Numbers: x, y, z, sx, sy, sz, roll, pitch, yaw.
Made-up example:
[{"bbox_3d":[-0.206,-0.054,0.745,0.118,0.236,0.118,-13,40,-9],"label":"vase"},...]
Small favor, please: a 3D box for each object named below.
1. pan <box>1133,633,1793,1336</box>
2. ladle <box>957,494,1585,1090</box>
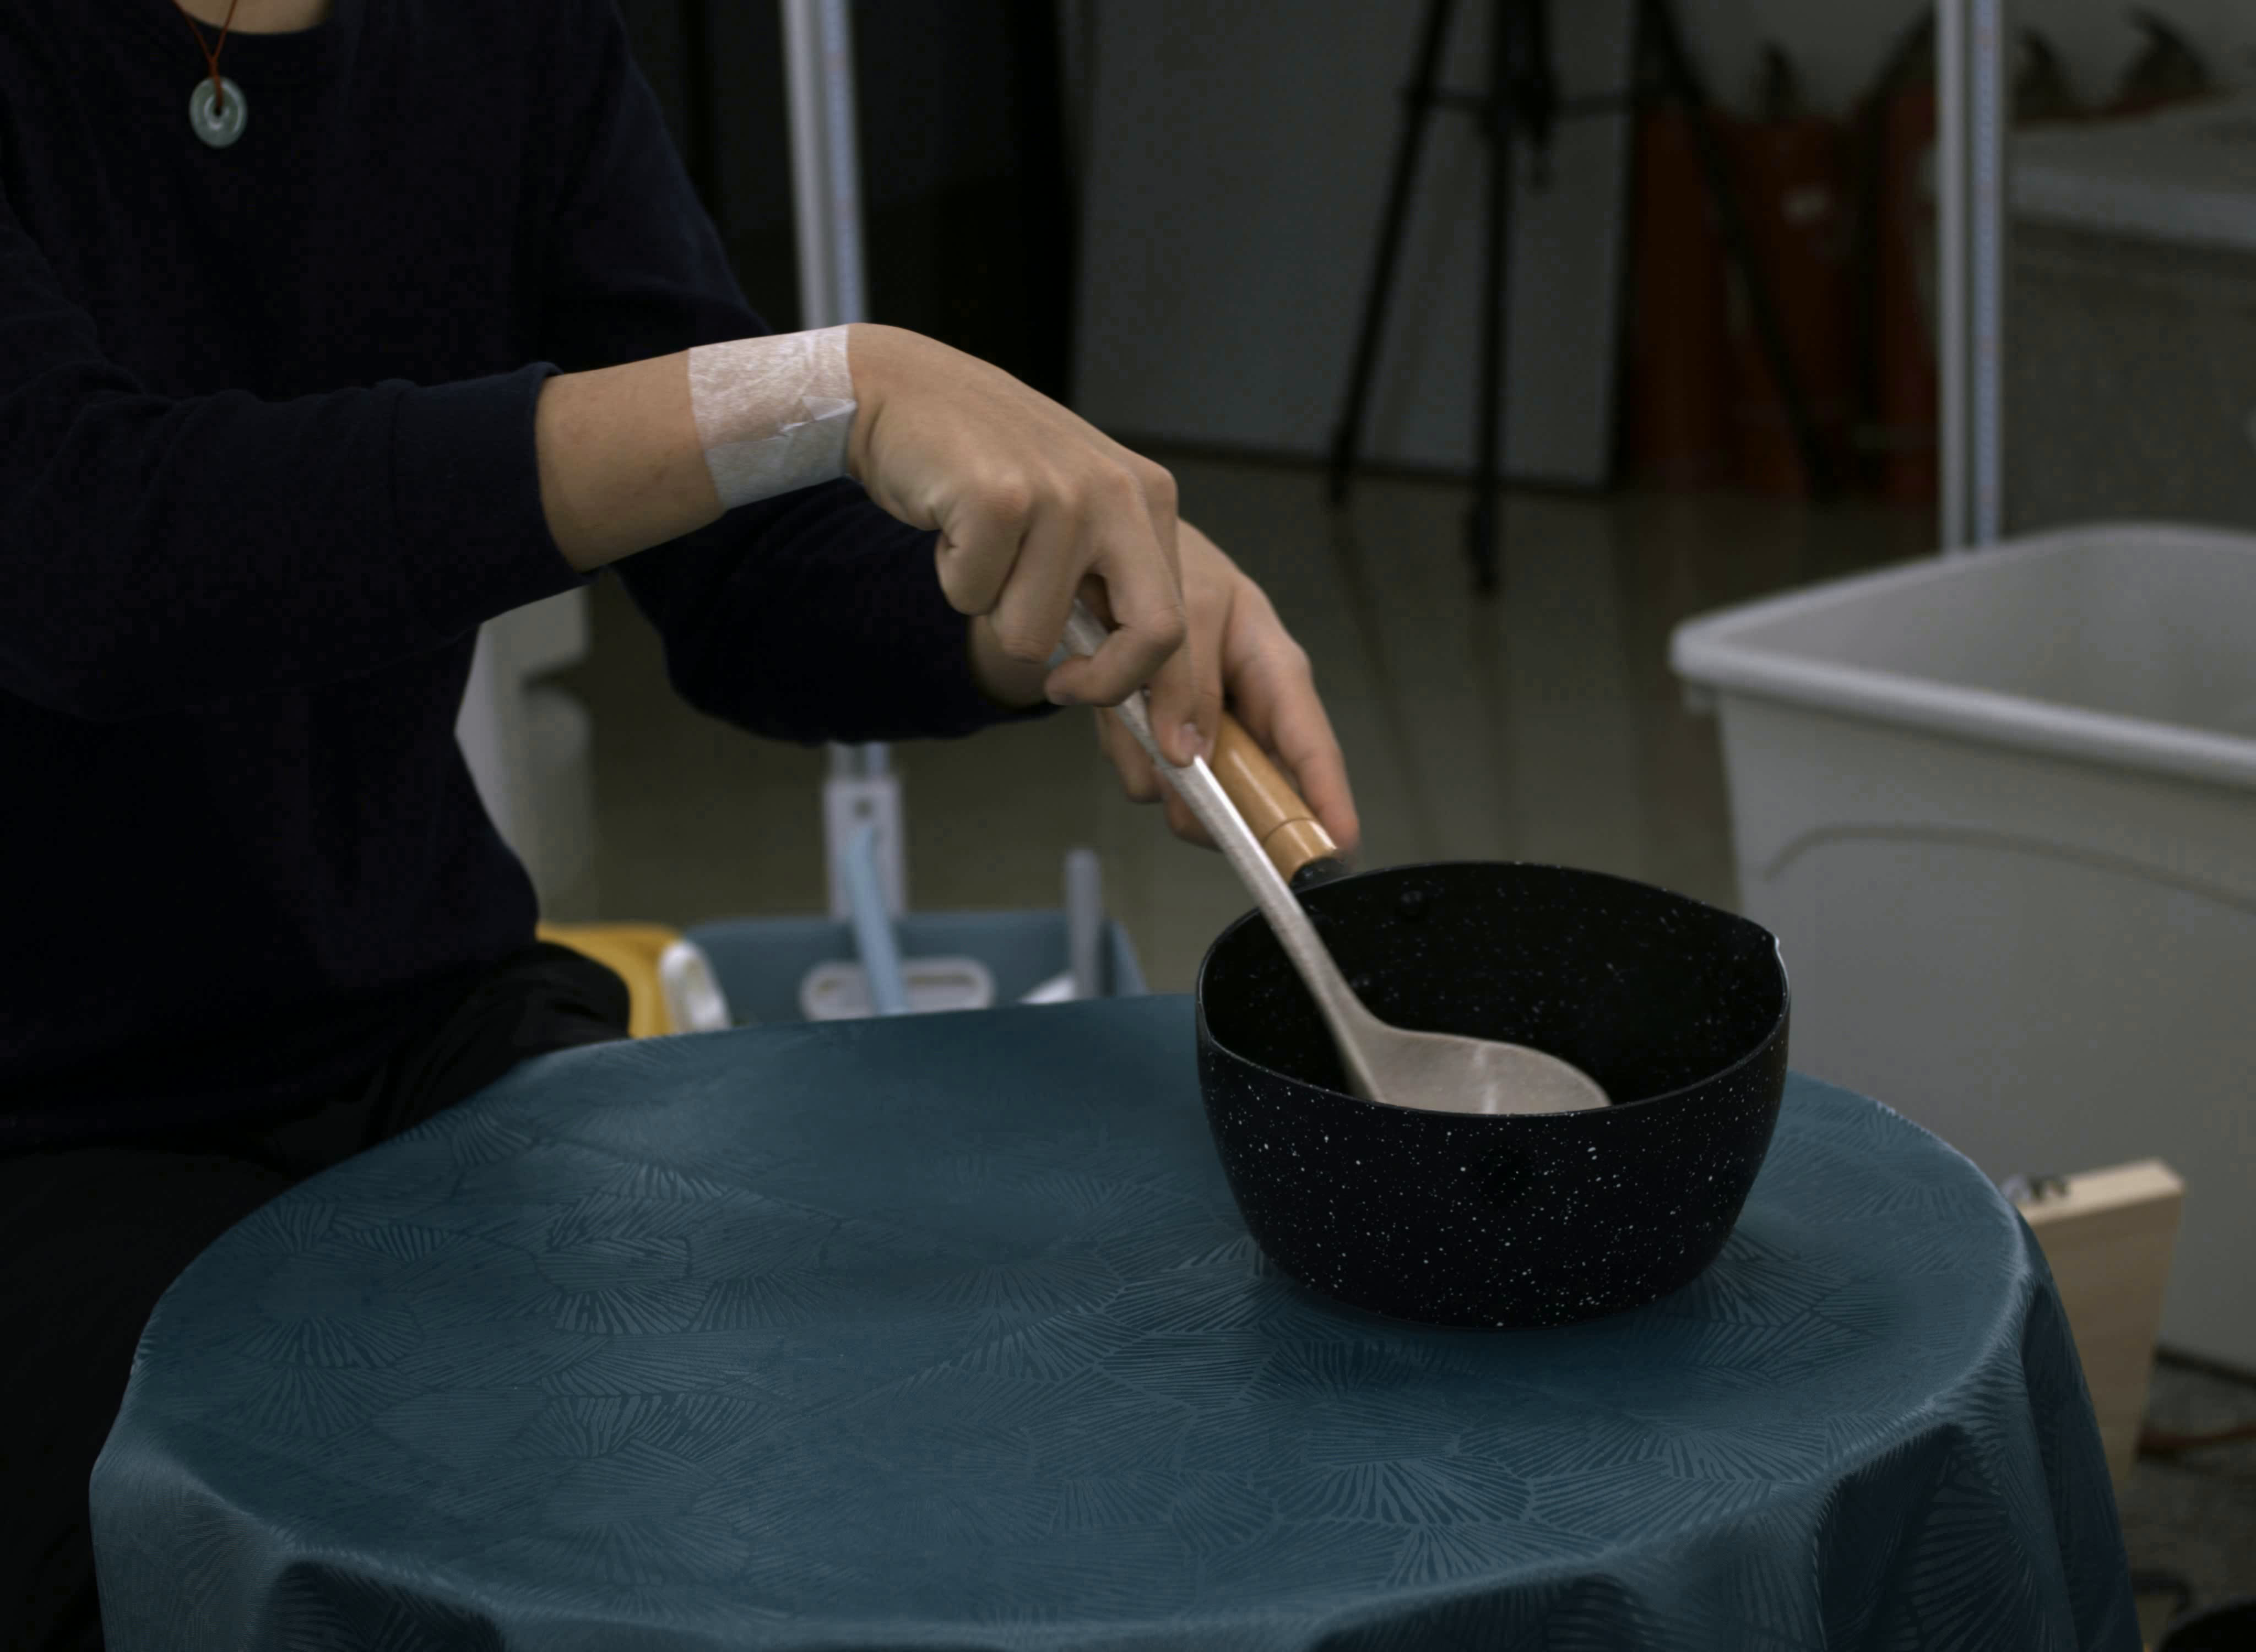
[{"bbox_3d":[0.079,0.046,1.728,0.203,0.109,0.346,-13,27,-22],"label":"pan"},{"bbox_3d":[0.048,-0.001,1.661,0.070,0.275,0.089,-27,13,27],"label":"ladle"}]
